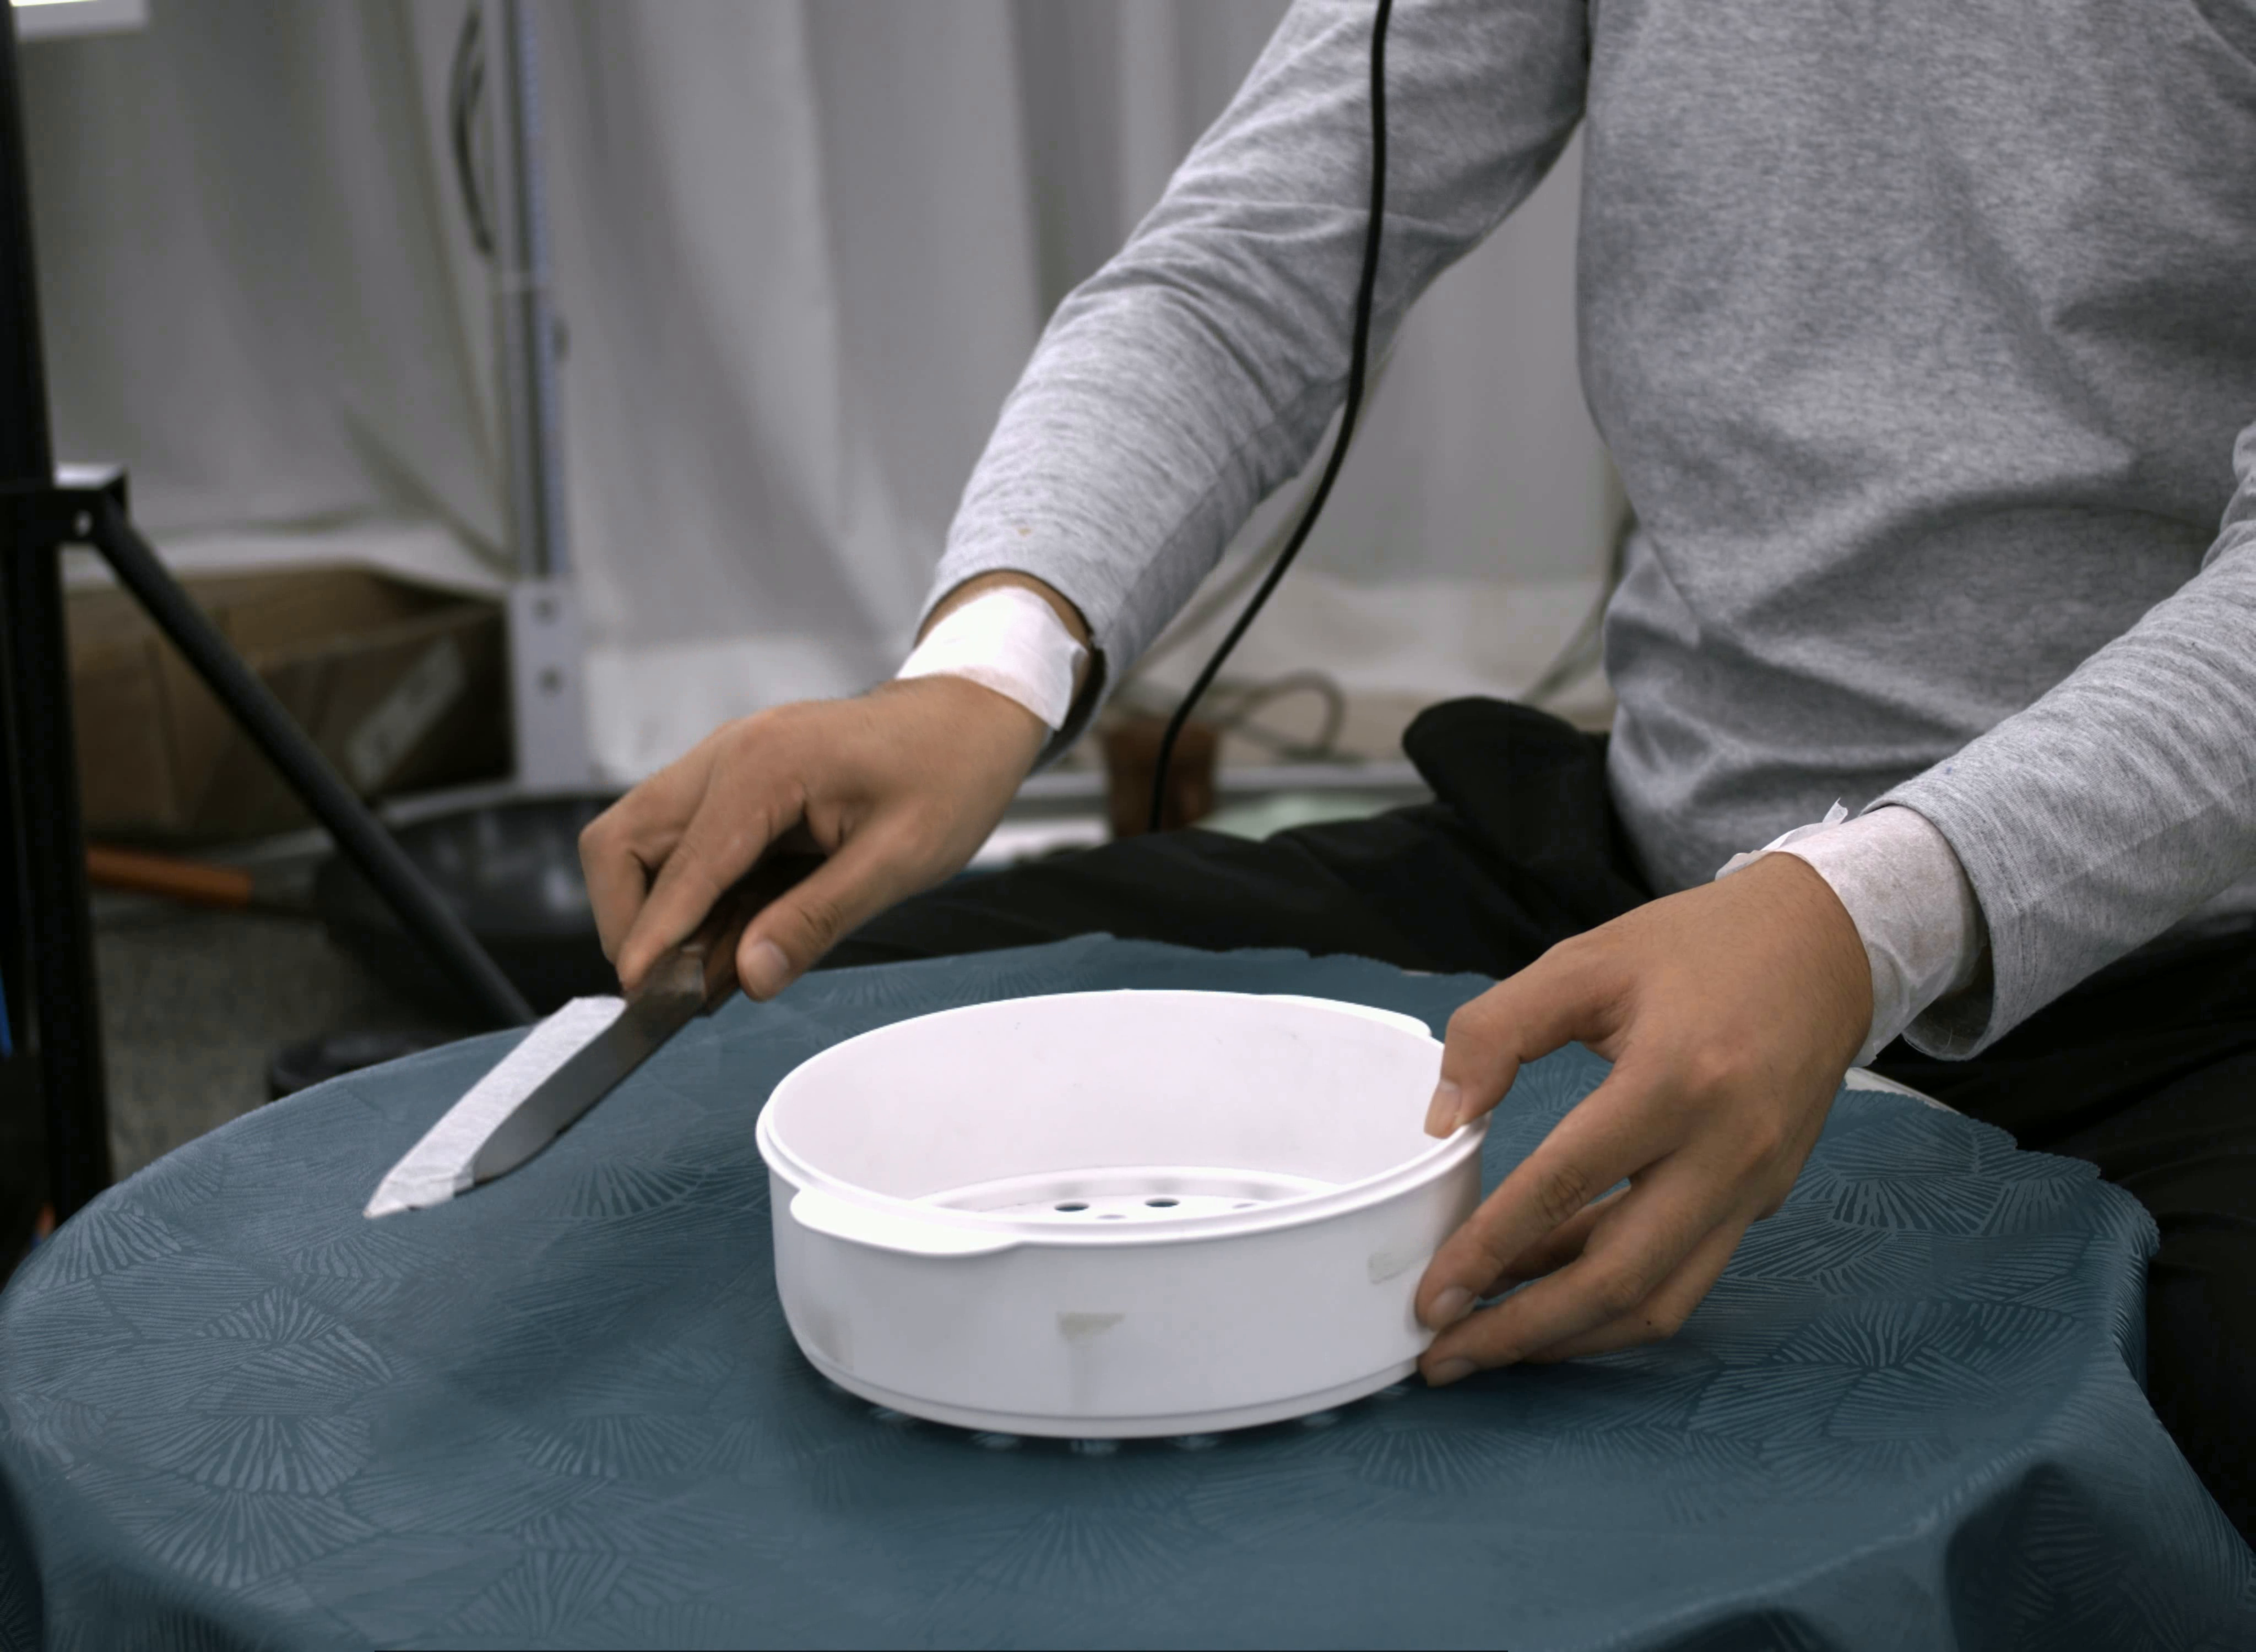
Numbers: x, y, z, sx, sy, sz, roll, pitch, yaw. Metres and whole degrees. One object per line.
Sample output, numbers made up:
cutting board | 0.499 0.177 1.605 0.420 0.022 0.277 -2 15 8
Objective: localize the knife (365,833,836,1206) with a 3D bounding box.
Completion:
knife | -0.147 0.055 1.537 0.051 0.020 0.286 -3 17 23

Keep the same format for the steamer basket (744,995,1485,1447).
steamer basket | -0.003 0.107 1.443 0.206 0.069 0.226 10 19 36
